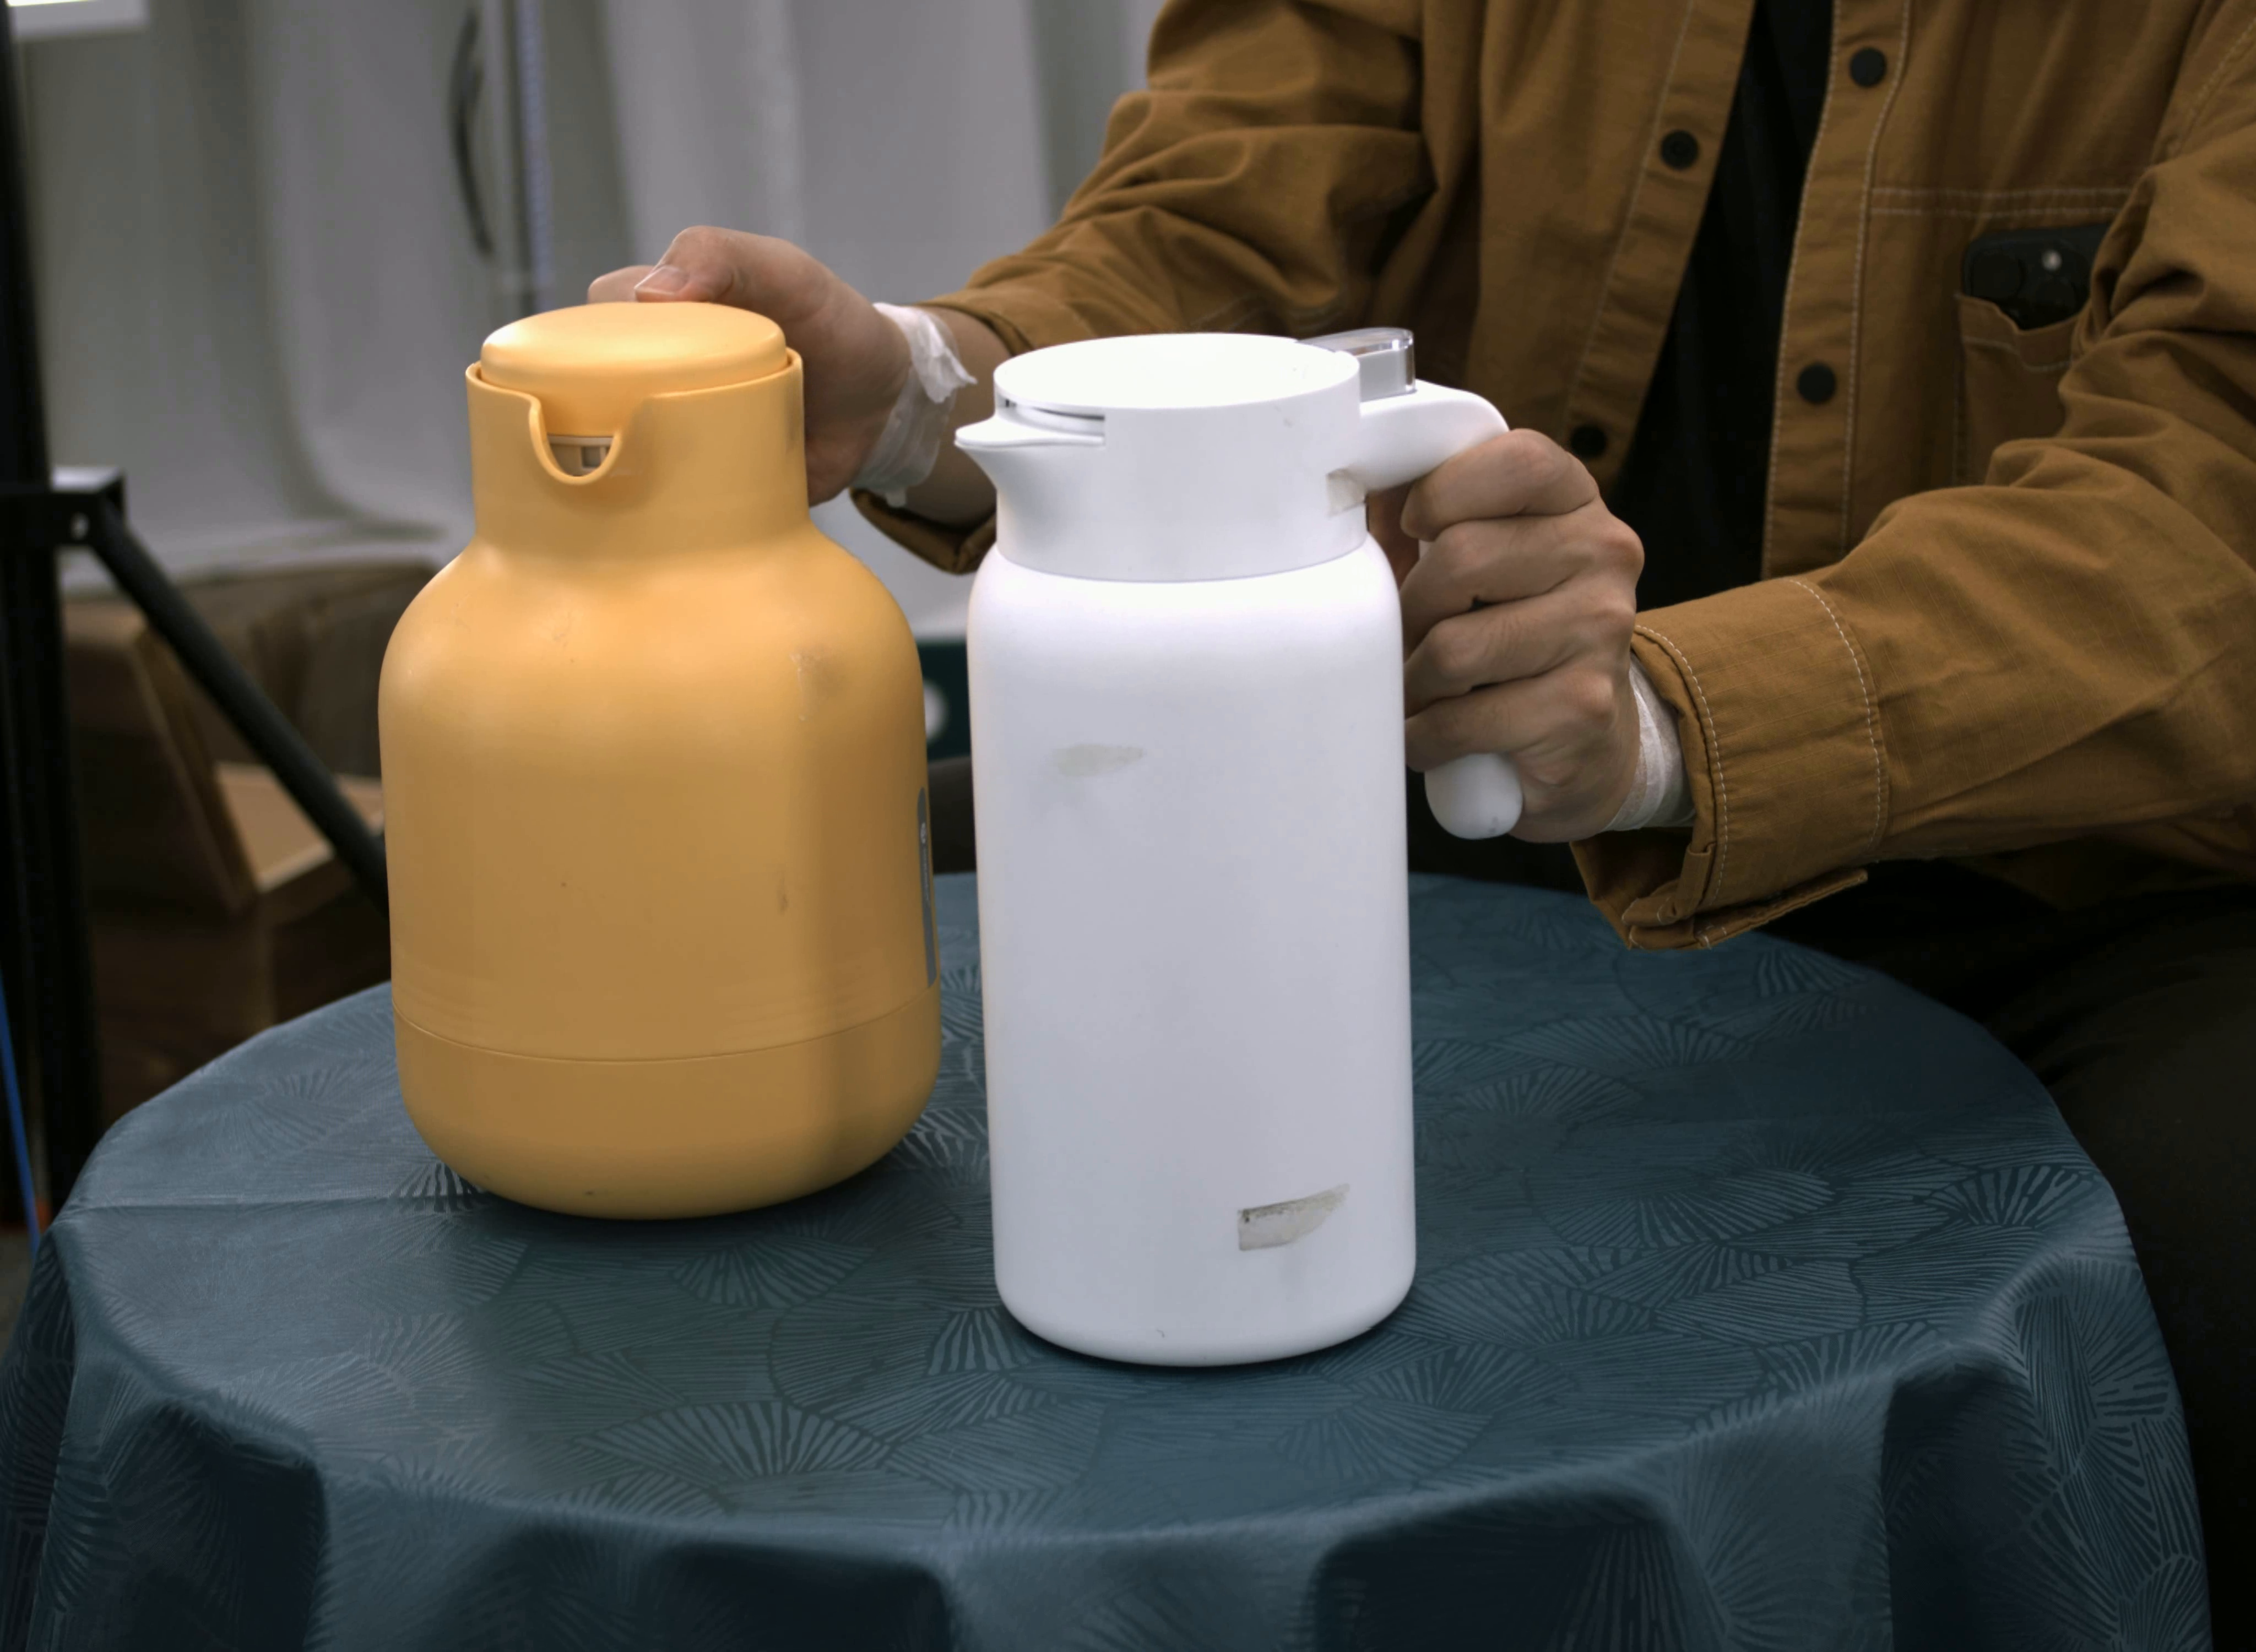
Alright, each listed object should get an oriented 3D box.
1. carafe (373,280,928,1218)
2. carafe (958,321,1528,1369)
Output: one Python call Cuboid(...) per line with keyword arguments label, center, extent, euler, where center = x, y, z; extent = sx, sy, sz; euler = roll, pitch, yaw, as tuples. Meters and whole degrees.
Cuboid(label="carafe", center=(-0.136, -0.031, 1.587), extent=(0.164, 0.260, 0.201), euler=(4, 17, 11))
Cuboid(label="carafe", center=(0.032, 0.001, 1.440), extent=(0.169, 0.269, 0.126), euler=(-11, 16, -31))
